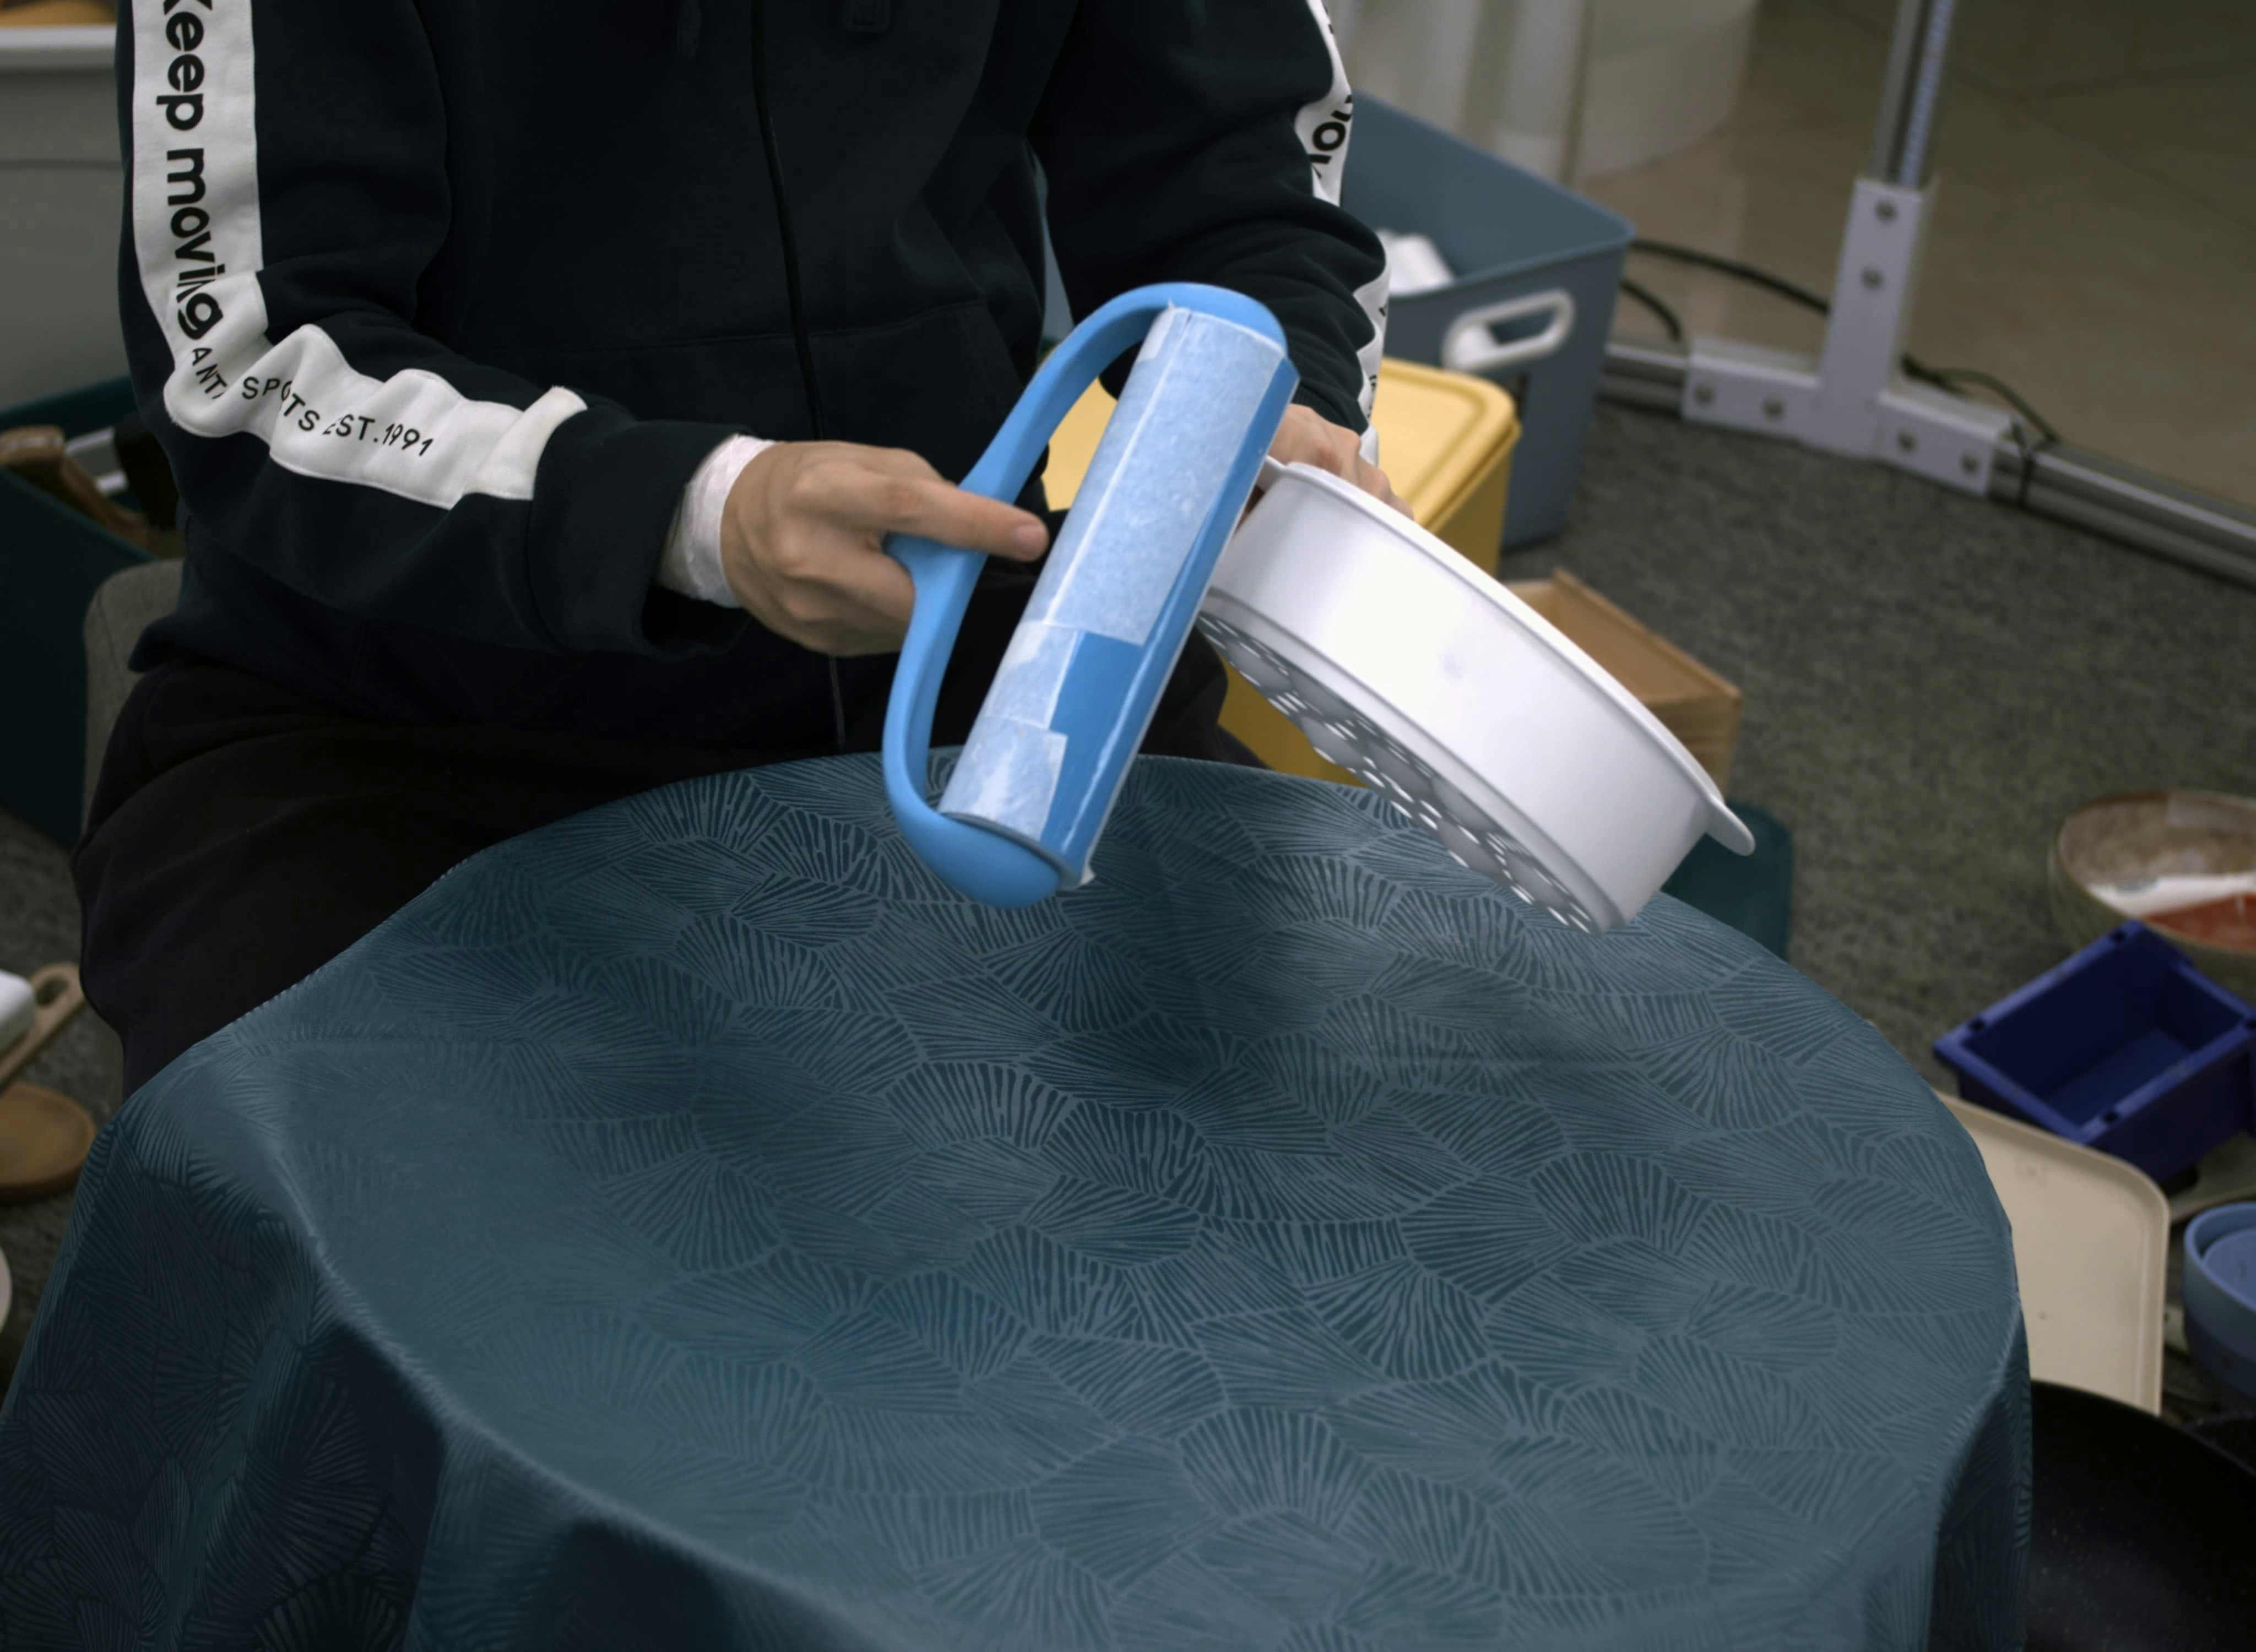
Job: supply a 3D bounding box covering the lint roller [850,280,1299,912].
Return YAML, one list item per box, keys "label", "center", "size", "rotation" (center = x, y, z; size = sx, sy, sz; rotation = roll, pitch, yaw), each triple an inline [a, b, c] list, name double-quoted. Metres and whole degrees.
- label: "lint roller"
  center: [-0.045, -0.079, 1.811]
  size: [0.181, 0.230, 0.067]
  rotation: [2, -24, 42]

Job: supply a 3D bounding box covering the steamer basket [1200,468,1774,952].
- label: "steamer basket"
  center: [0.116, -0.036, 1.865]
  size: [0.231, 0.069, 0.201]
  rotation: [37, -5, 10]
